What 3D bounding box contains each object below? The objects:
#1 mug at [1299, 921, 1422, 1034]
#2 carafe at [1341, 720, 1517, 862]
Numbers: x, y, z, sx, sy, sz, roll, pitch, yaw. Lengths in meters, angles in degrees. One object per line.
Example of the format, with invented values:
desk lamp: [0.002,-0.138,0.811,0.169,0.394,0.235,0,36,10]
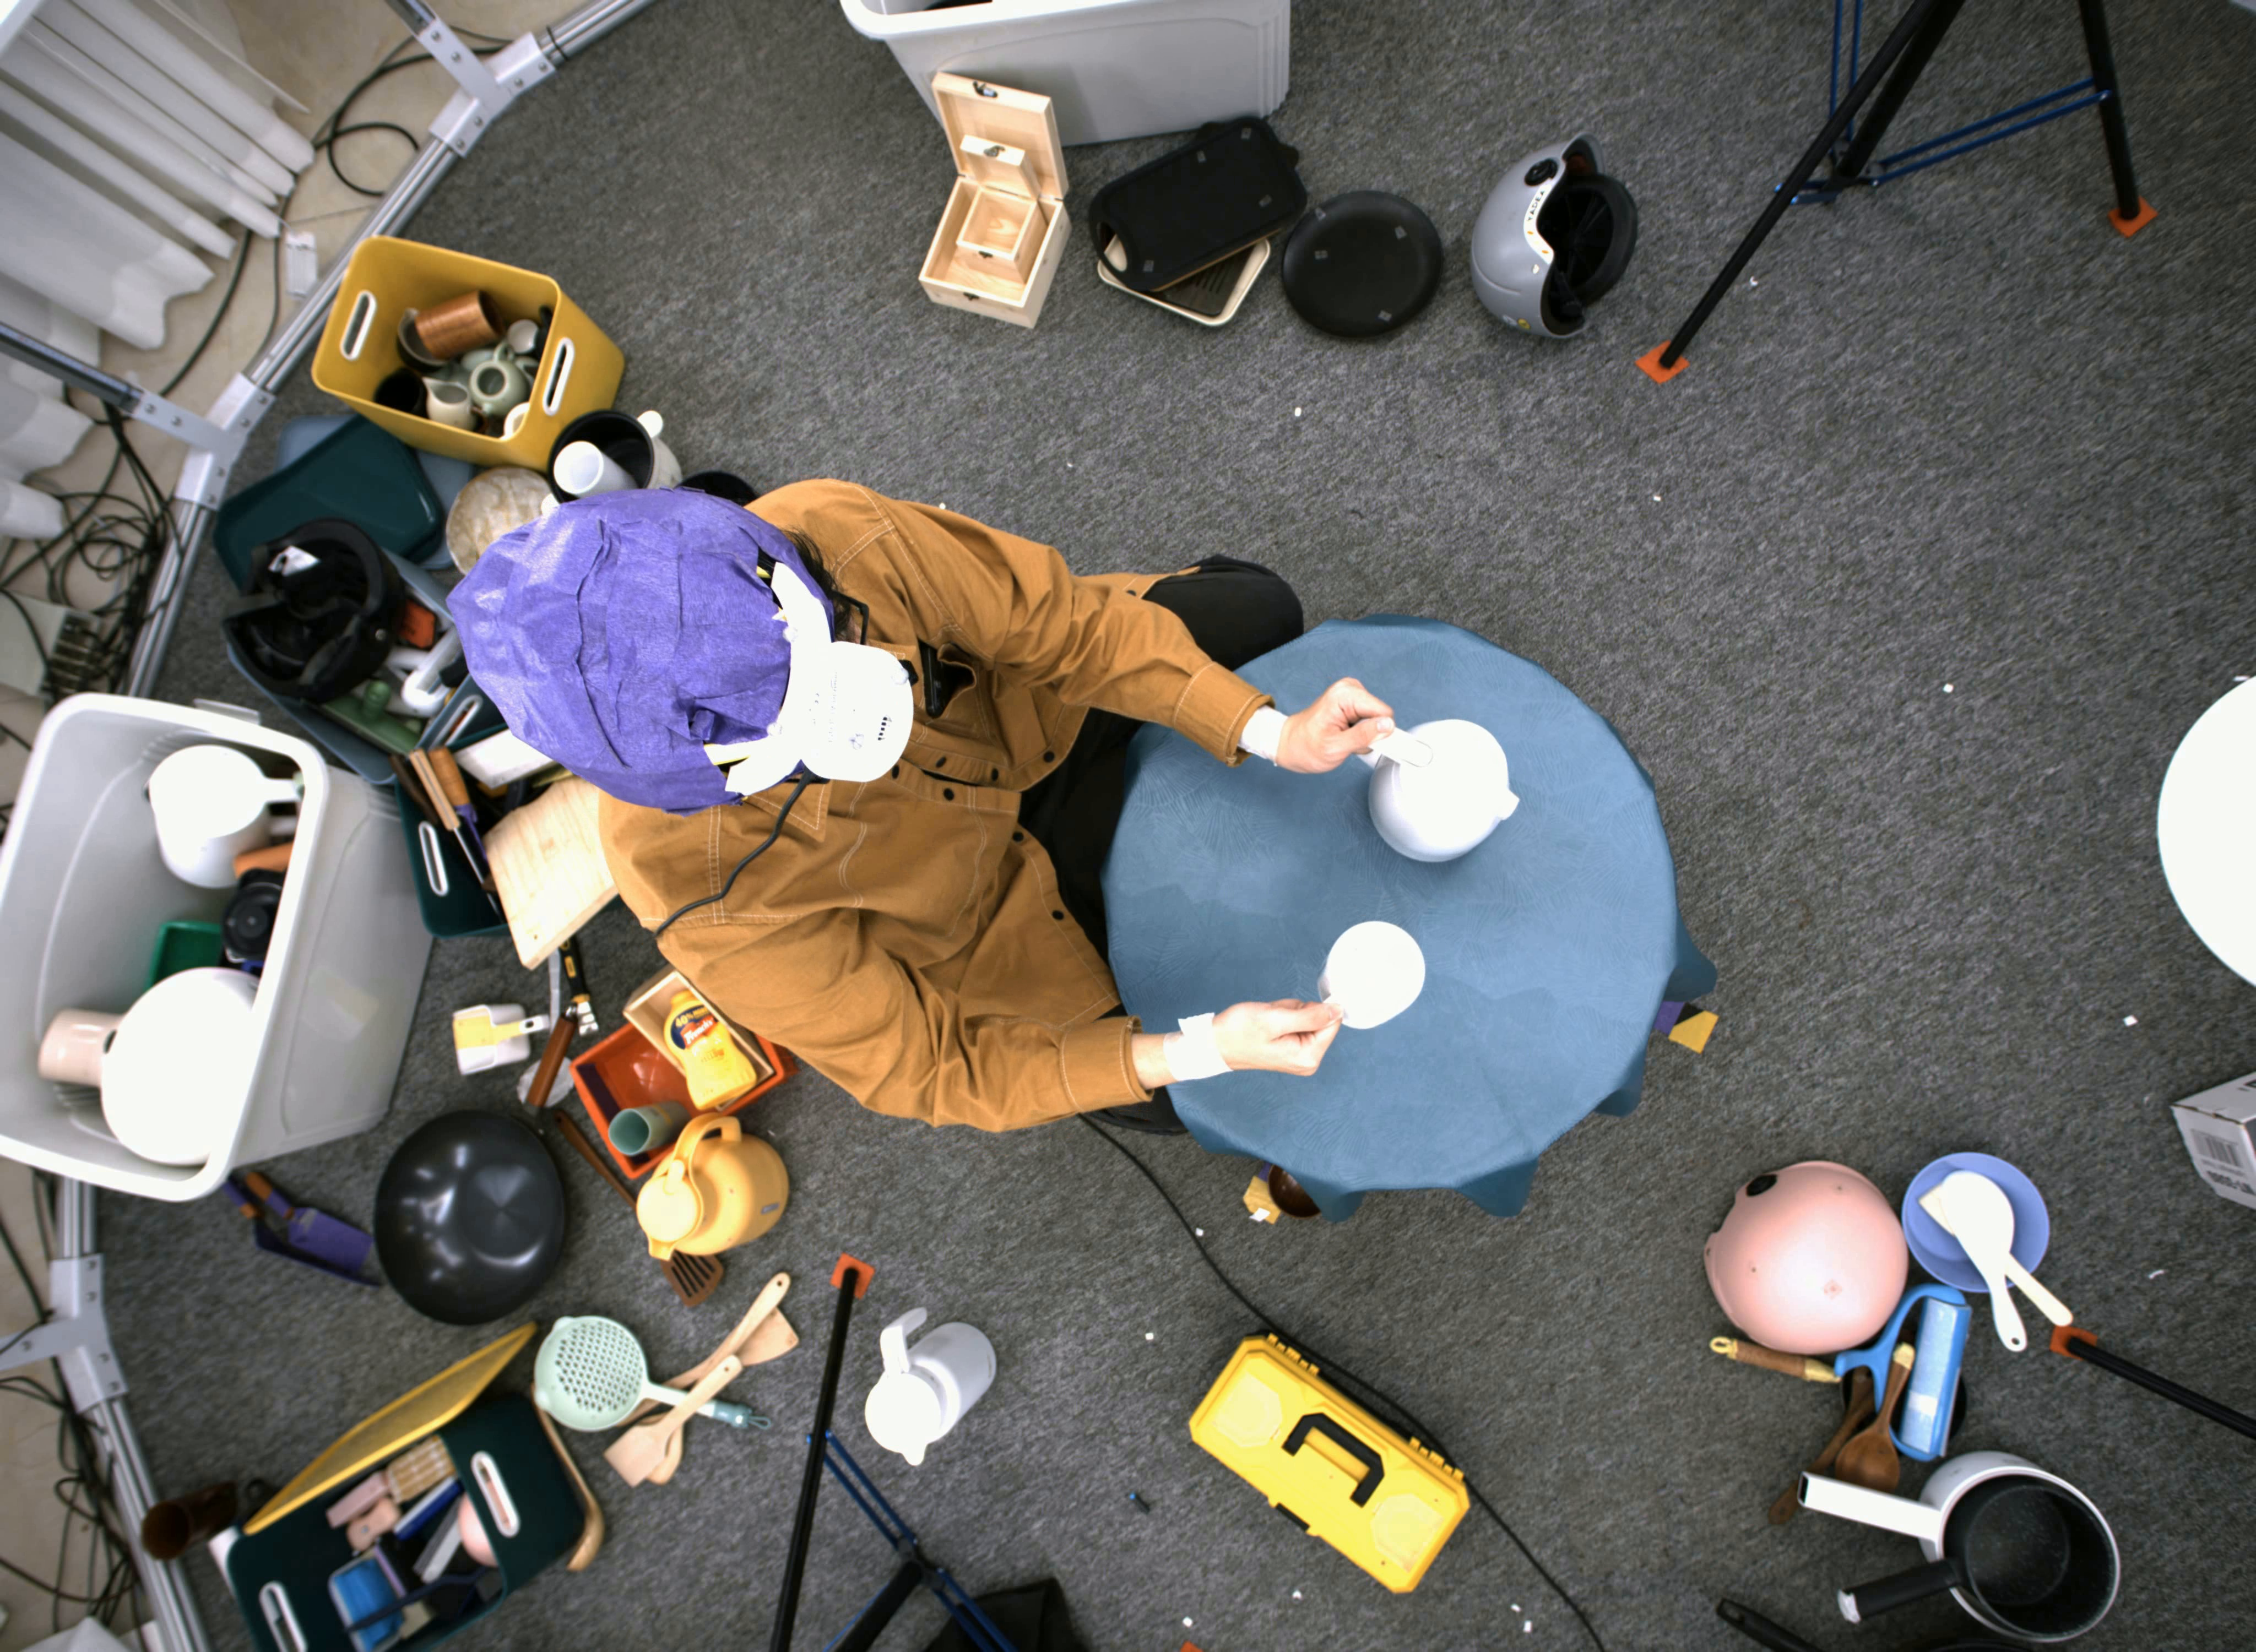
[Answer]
mug: [0.205,0.147,1.264,0.117,0.103,0.084,-39,79,-7]
carafe: [0.280,-0.047,1.307,0.167,0.248,0.133,29,92,10]
